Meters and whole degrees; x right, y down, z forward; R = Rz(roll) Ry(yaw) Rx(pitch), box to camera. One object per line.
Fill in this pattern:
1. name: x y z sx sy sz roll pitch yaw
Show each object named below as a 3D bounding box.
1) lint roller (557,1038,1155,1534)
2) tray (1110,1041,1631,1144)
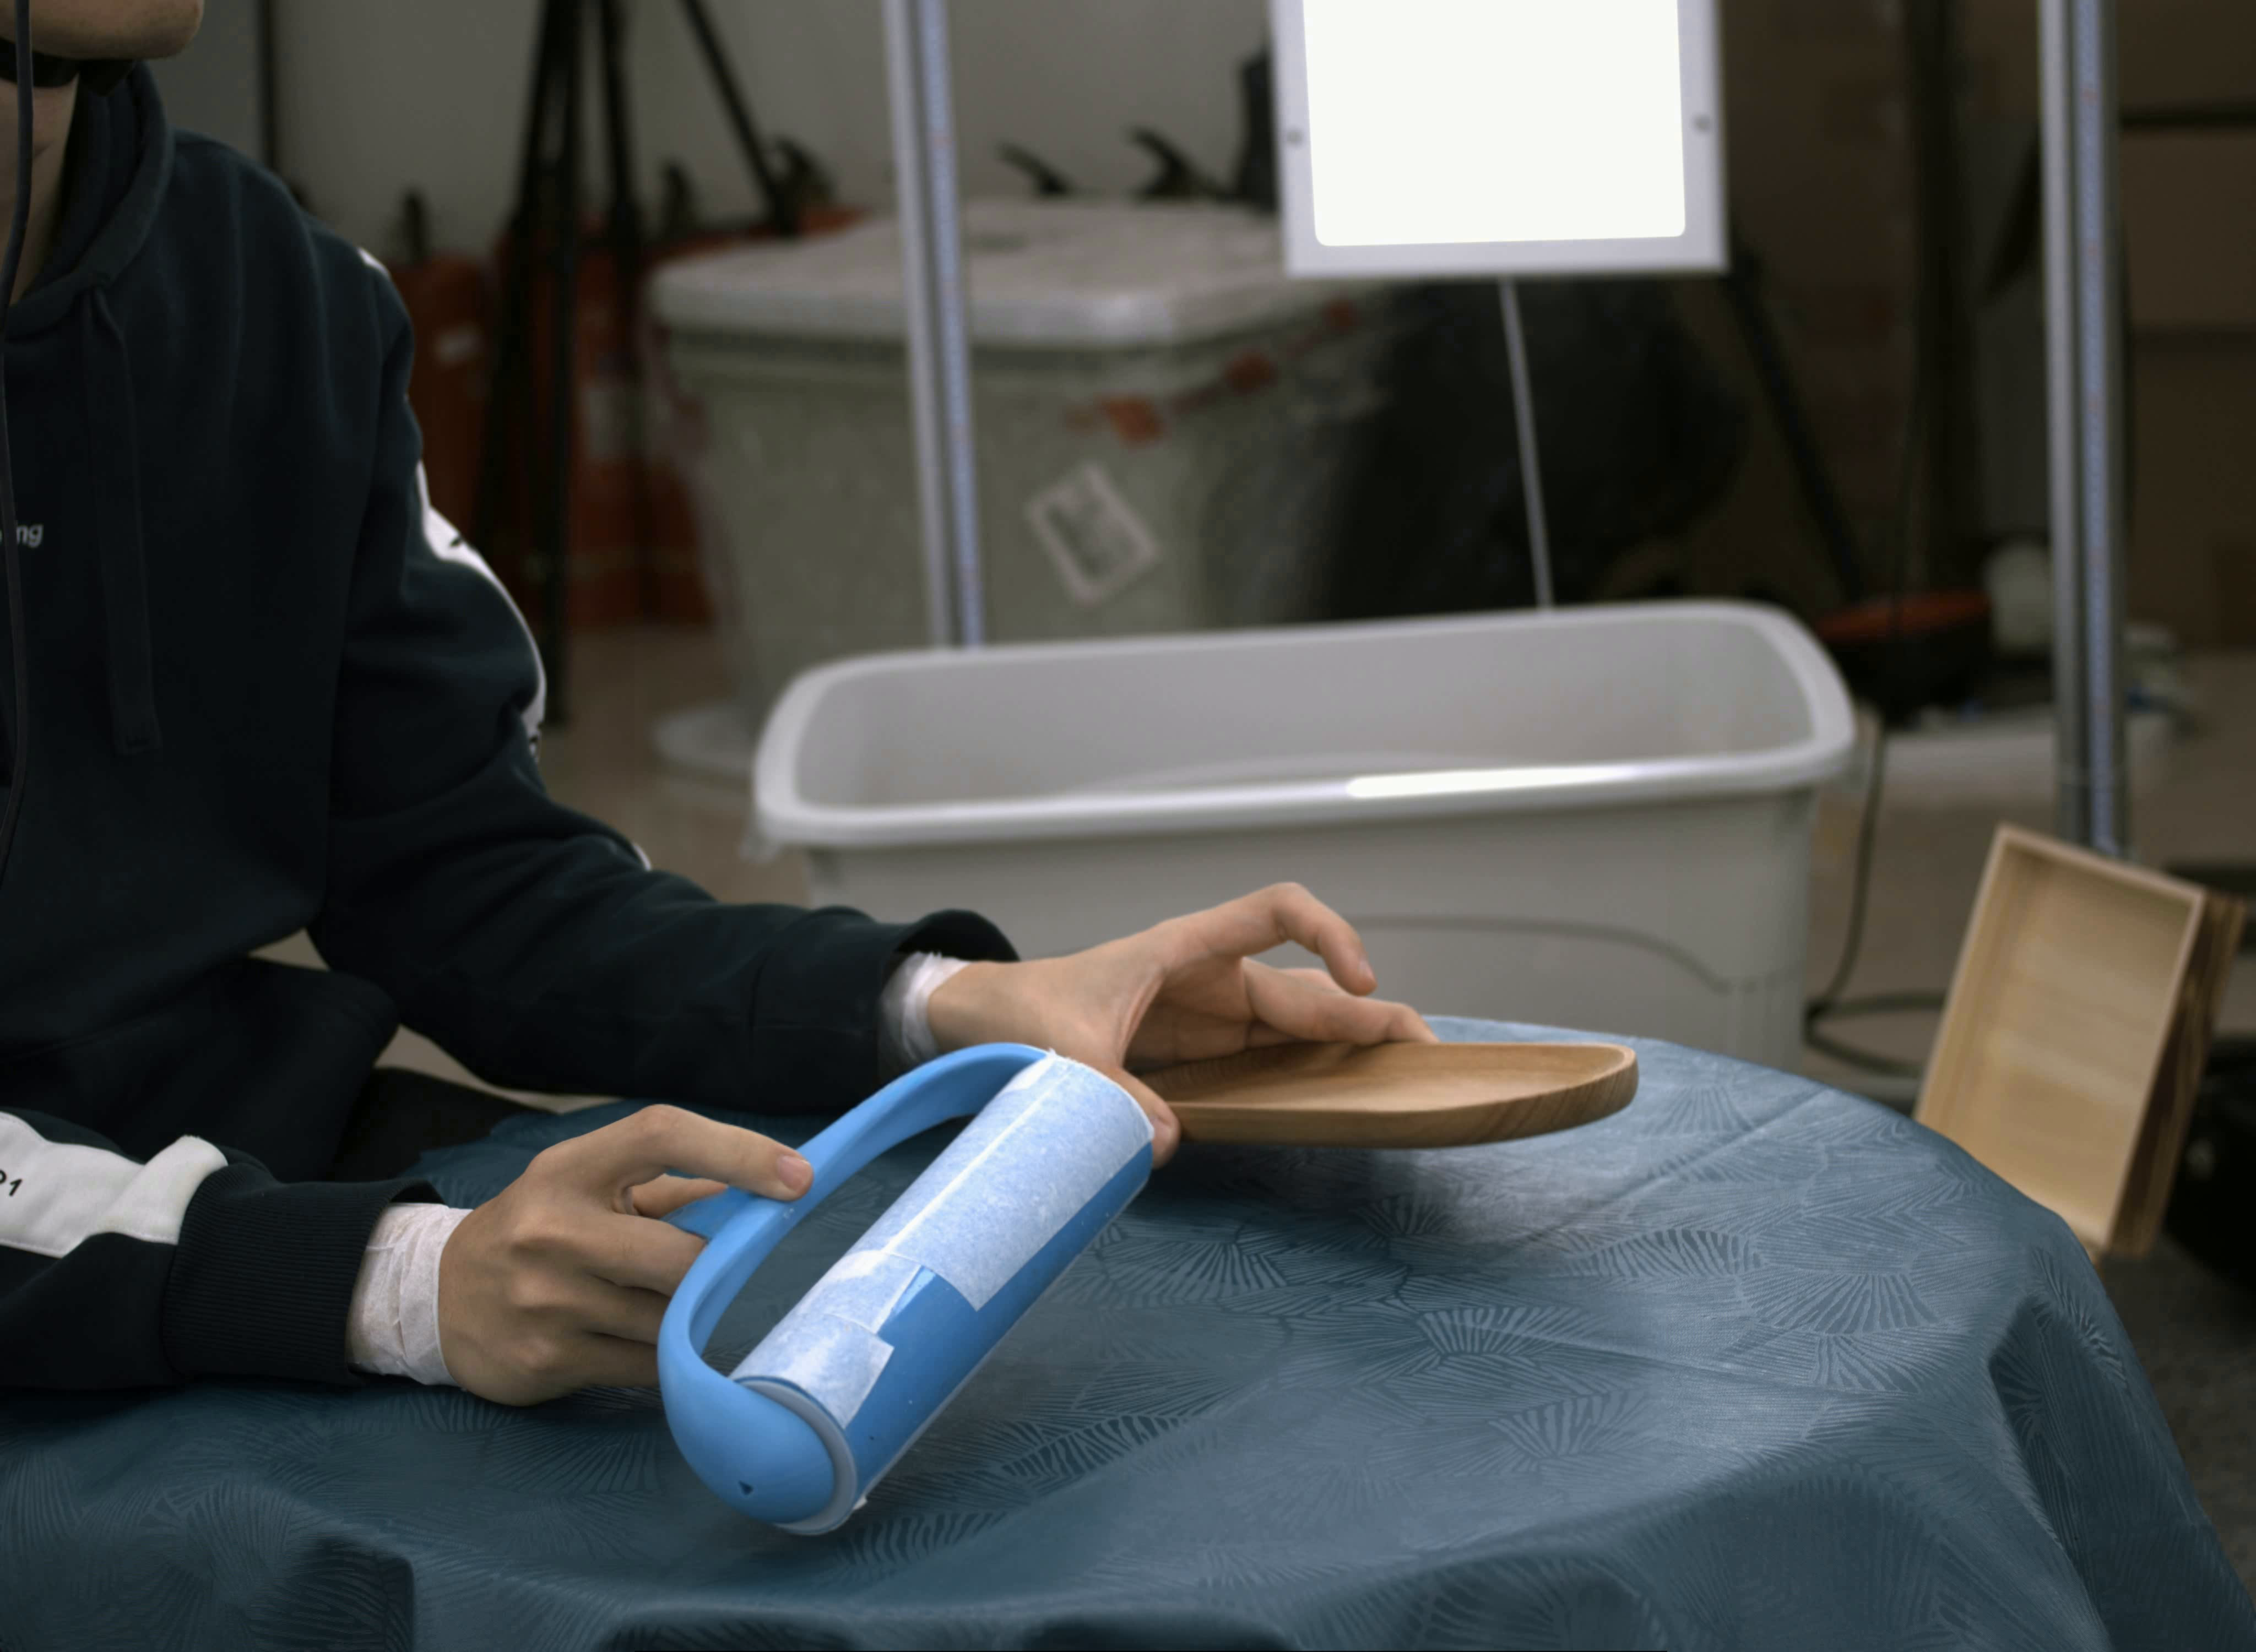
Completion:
1. lint roller: -0.108 0.141 1.688 0.184 0.068 0.224 -5 26 30
2. tray: 0.076 0.091 1.867 0.099 0.020 0.236 -12 4 -38
